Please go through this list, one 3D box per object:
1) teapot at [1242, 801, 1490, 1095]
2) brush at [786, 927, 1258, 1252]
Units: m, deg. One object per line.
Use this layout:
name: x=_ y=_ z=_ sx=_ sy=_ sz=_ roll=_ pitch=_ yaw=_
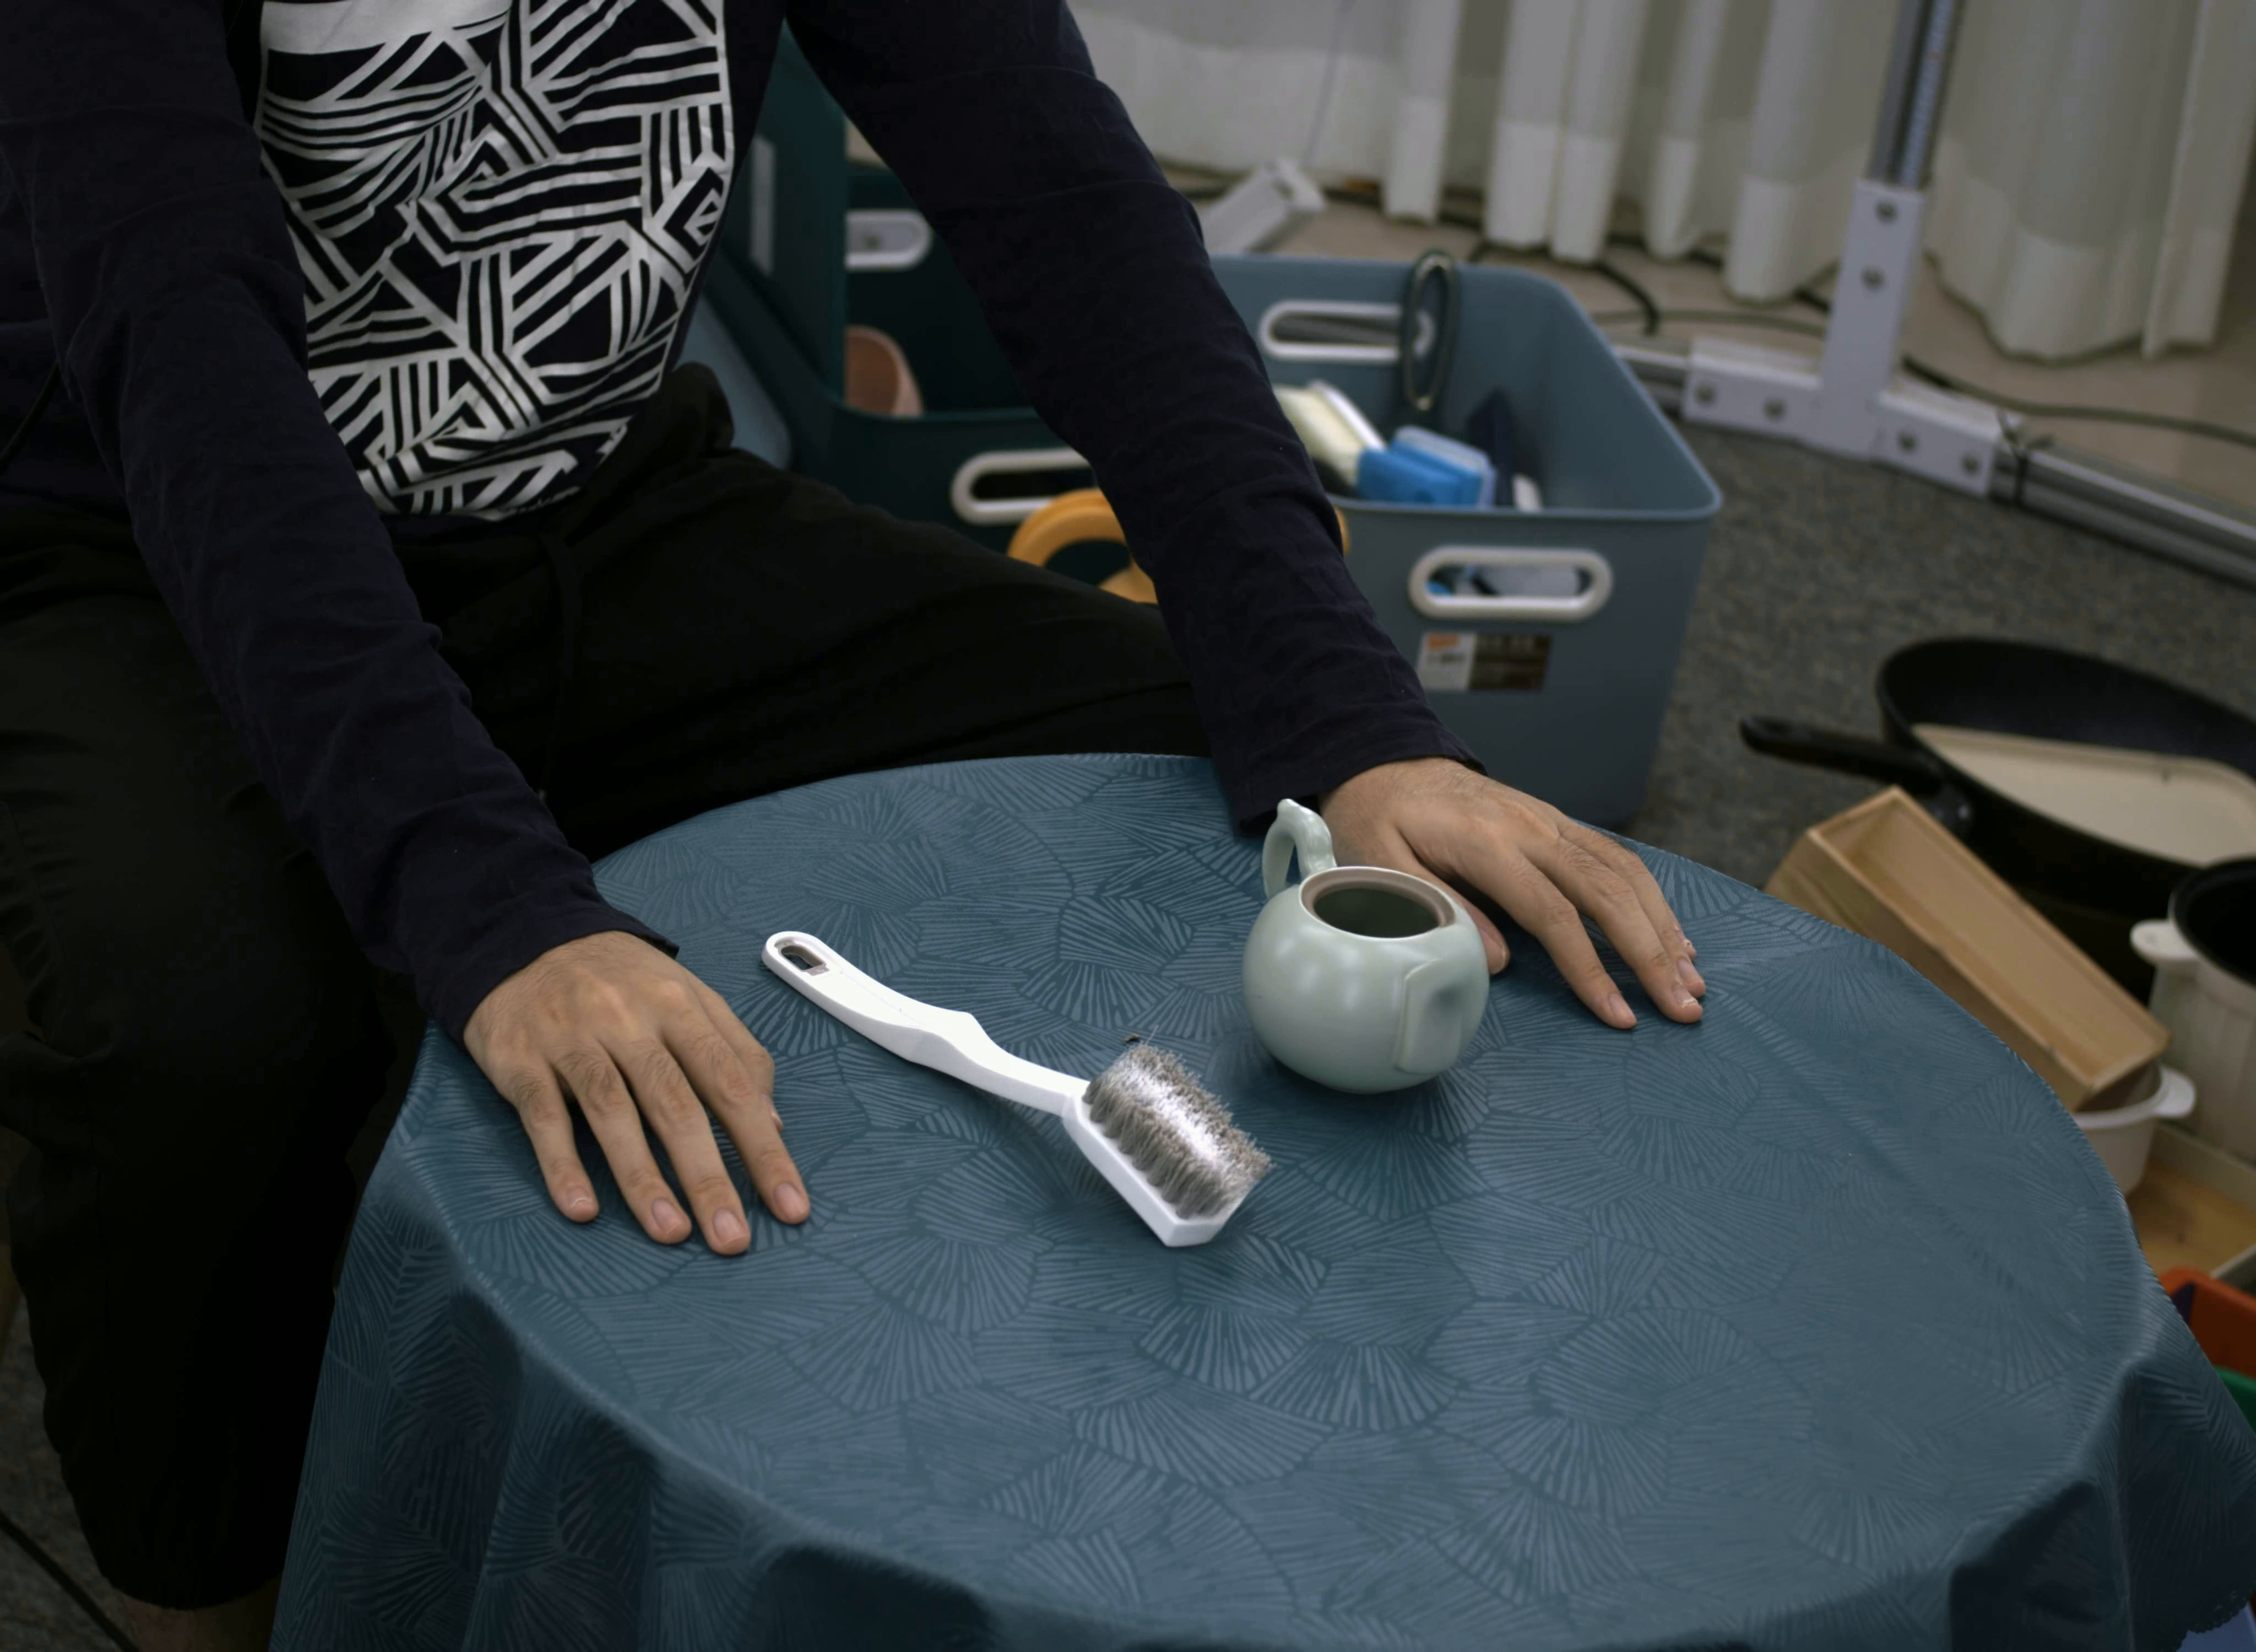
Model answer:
teapot: x=0.084 y=0.053 z=1.885 sx=0.088 sy=0.074 sz=0.145 roll=-7 pitch=31 yaw=-23
brush: x=-0.042 y=0.074 z=1.843 sx=0.034 sy=0.050 sz=0.246 roll=-21 pitch=37 yaw=-33
